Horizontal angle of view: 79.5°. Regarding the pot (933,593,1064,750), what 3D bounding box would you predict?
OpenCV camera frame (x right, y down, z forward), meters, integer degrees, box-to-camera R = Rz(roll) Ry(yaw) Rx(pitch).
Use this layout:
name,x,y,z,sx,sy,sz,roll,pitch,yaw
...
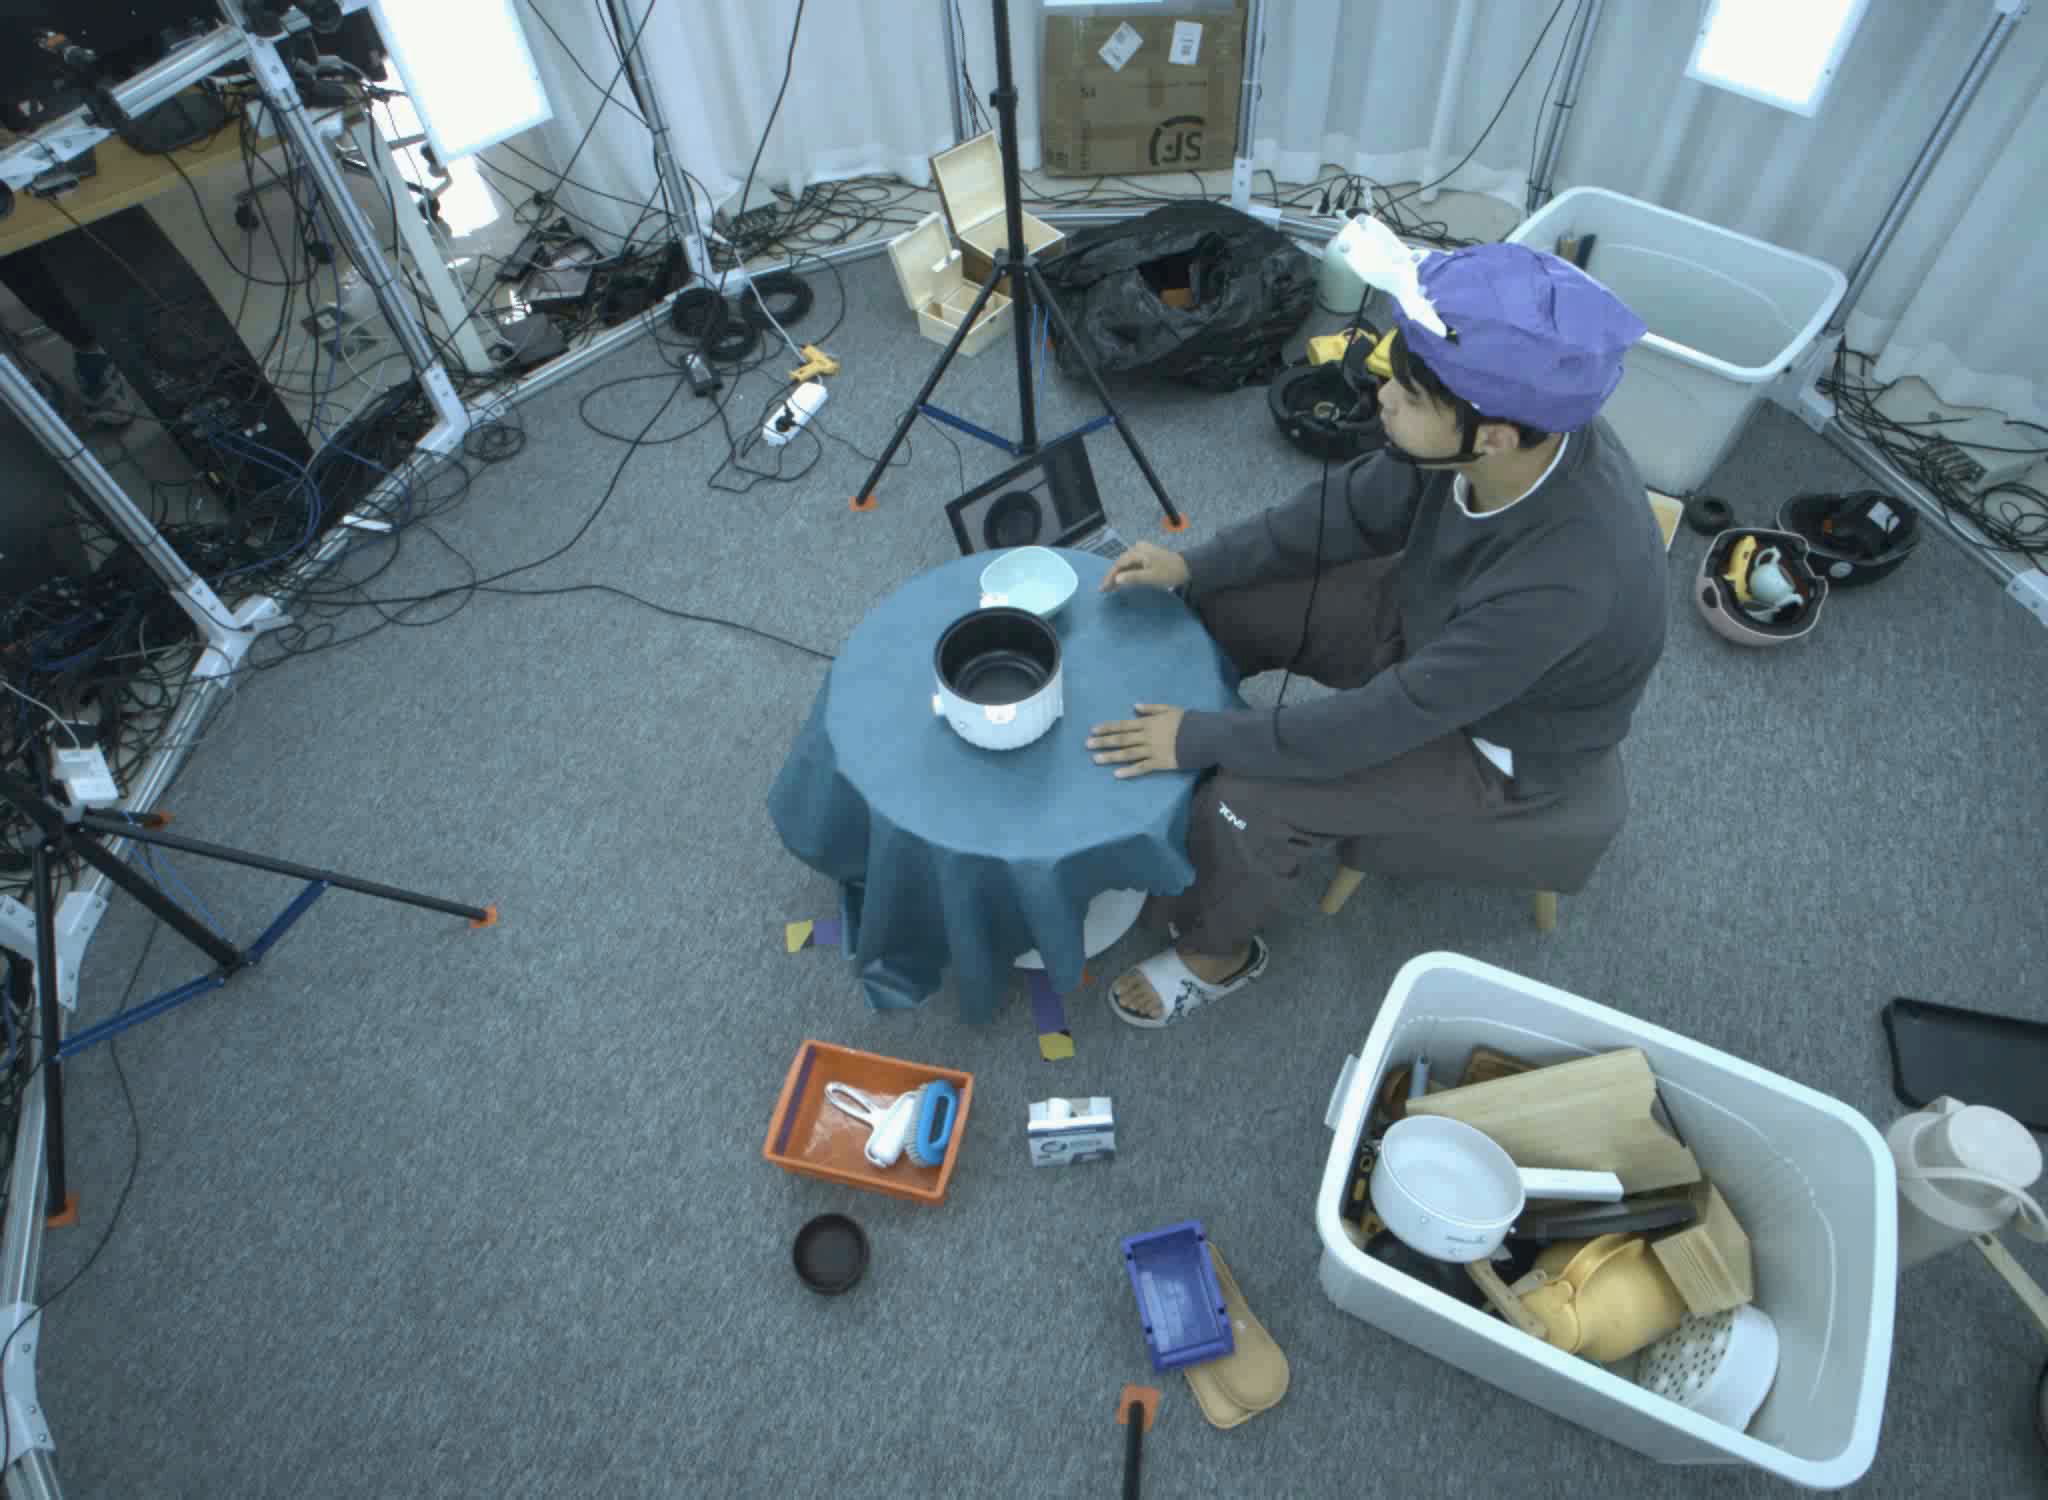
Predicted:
name,x,y,z,sx,sy,sz,roll,pitch,yaw
pot,-0.038,-0.095,1.769,0.191,0.144,0.237,-4,53,-4

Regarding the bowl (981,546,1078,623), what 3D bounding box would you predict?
name,x,y,z,sx,sy,sz,roll,pitch,yaw
bowl,0.009,-0.246,1.927,0.151,0.059,0.150,-1,55,3
